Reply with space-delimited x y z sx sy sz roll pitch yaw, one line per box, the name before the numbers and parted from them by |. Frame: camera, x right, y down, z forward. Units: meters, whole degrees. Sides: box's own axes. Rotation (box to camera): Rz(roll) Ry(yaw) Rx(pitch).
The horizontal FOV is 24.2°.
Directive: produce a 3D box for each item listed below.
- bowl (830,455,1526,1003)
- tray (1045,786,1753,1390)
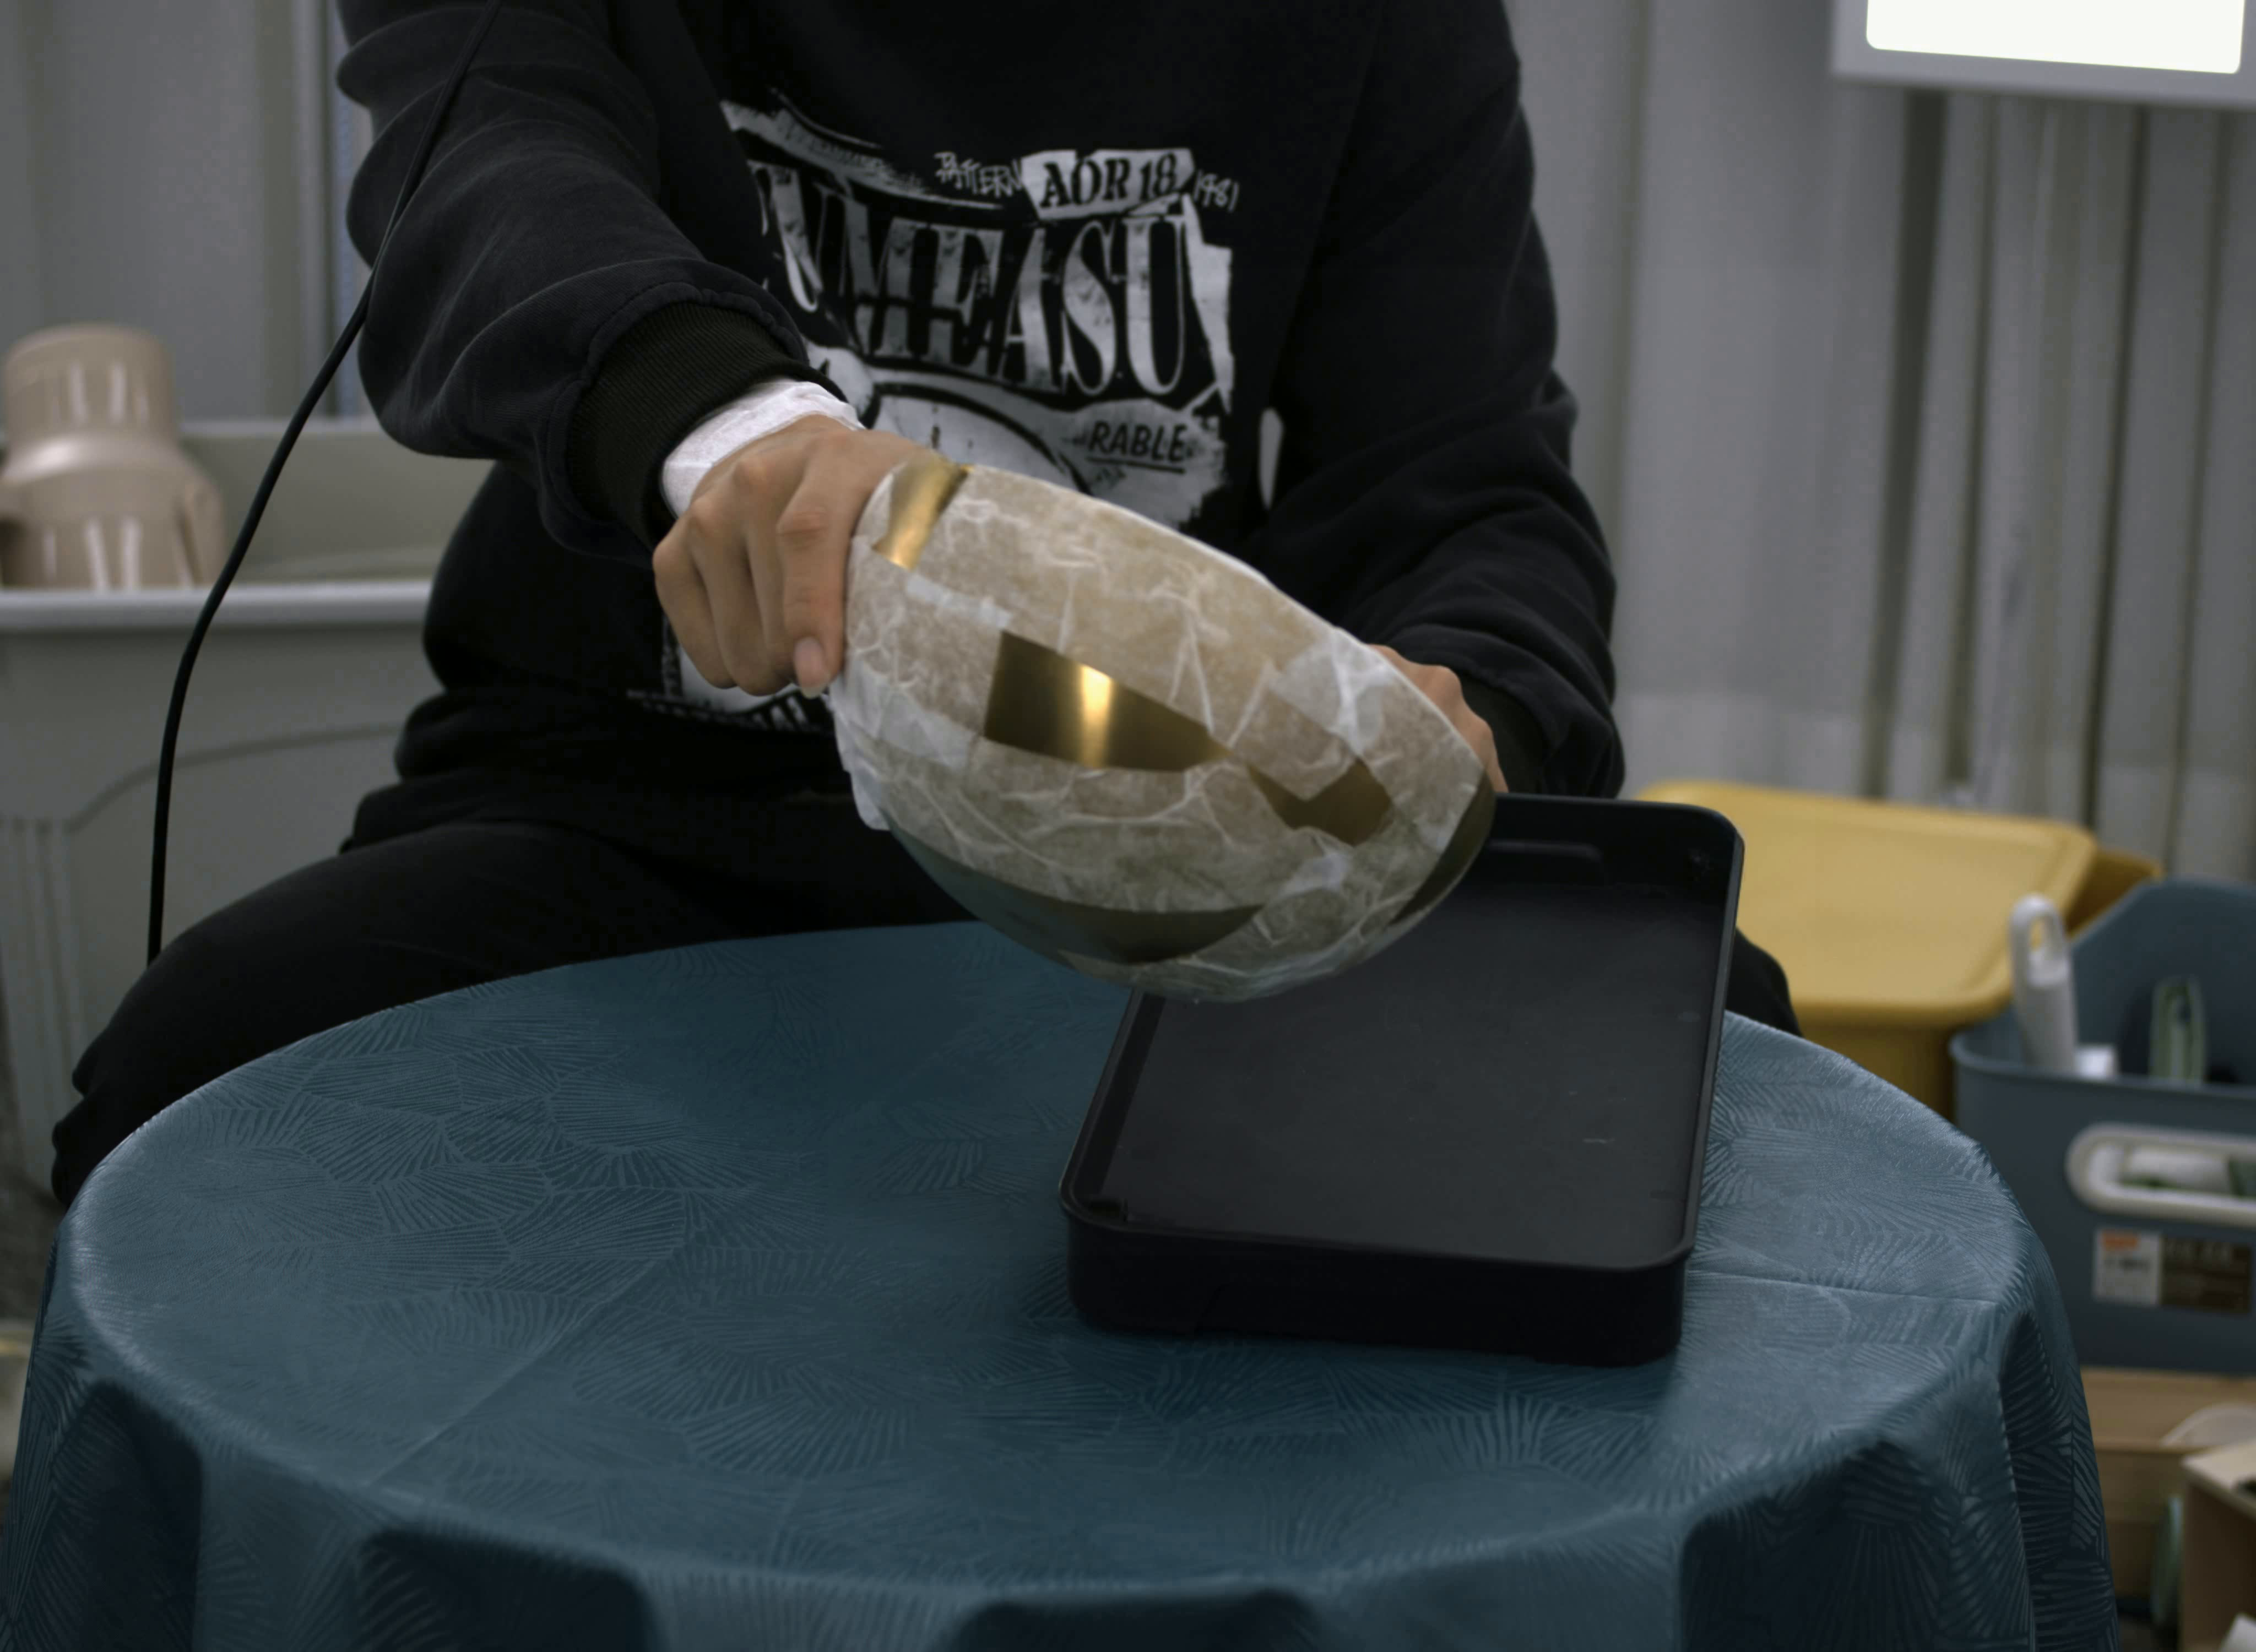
bowl | -0.003 -0.009 1.477 0.213 0.094 0.216 26 -14 7
tray | 0.091 0.070 1.627 0.183 0.037 0.316 6 27 8
